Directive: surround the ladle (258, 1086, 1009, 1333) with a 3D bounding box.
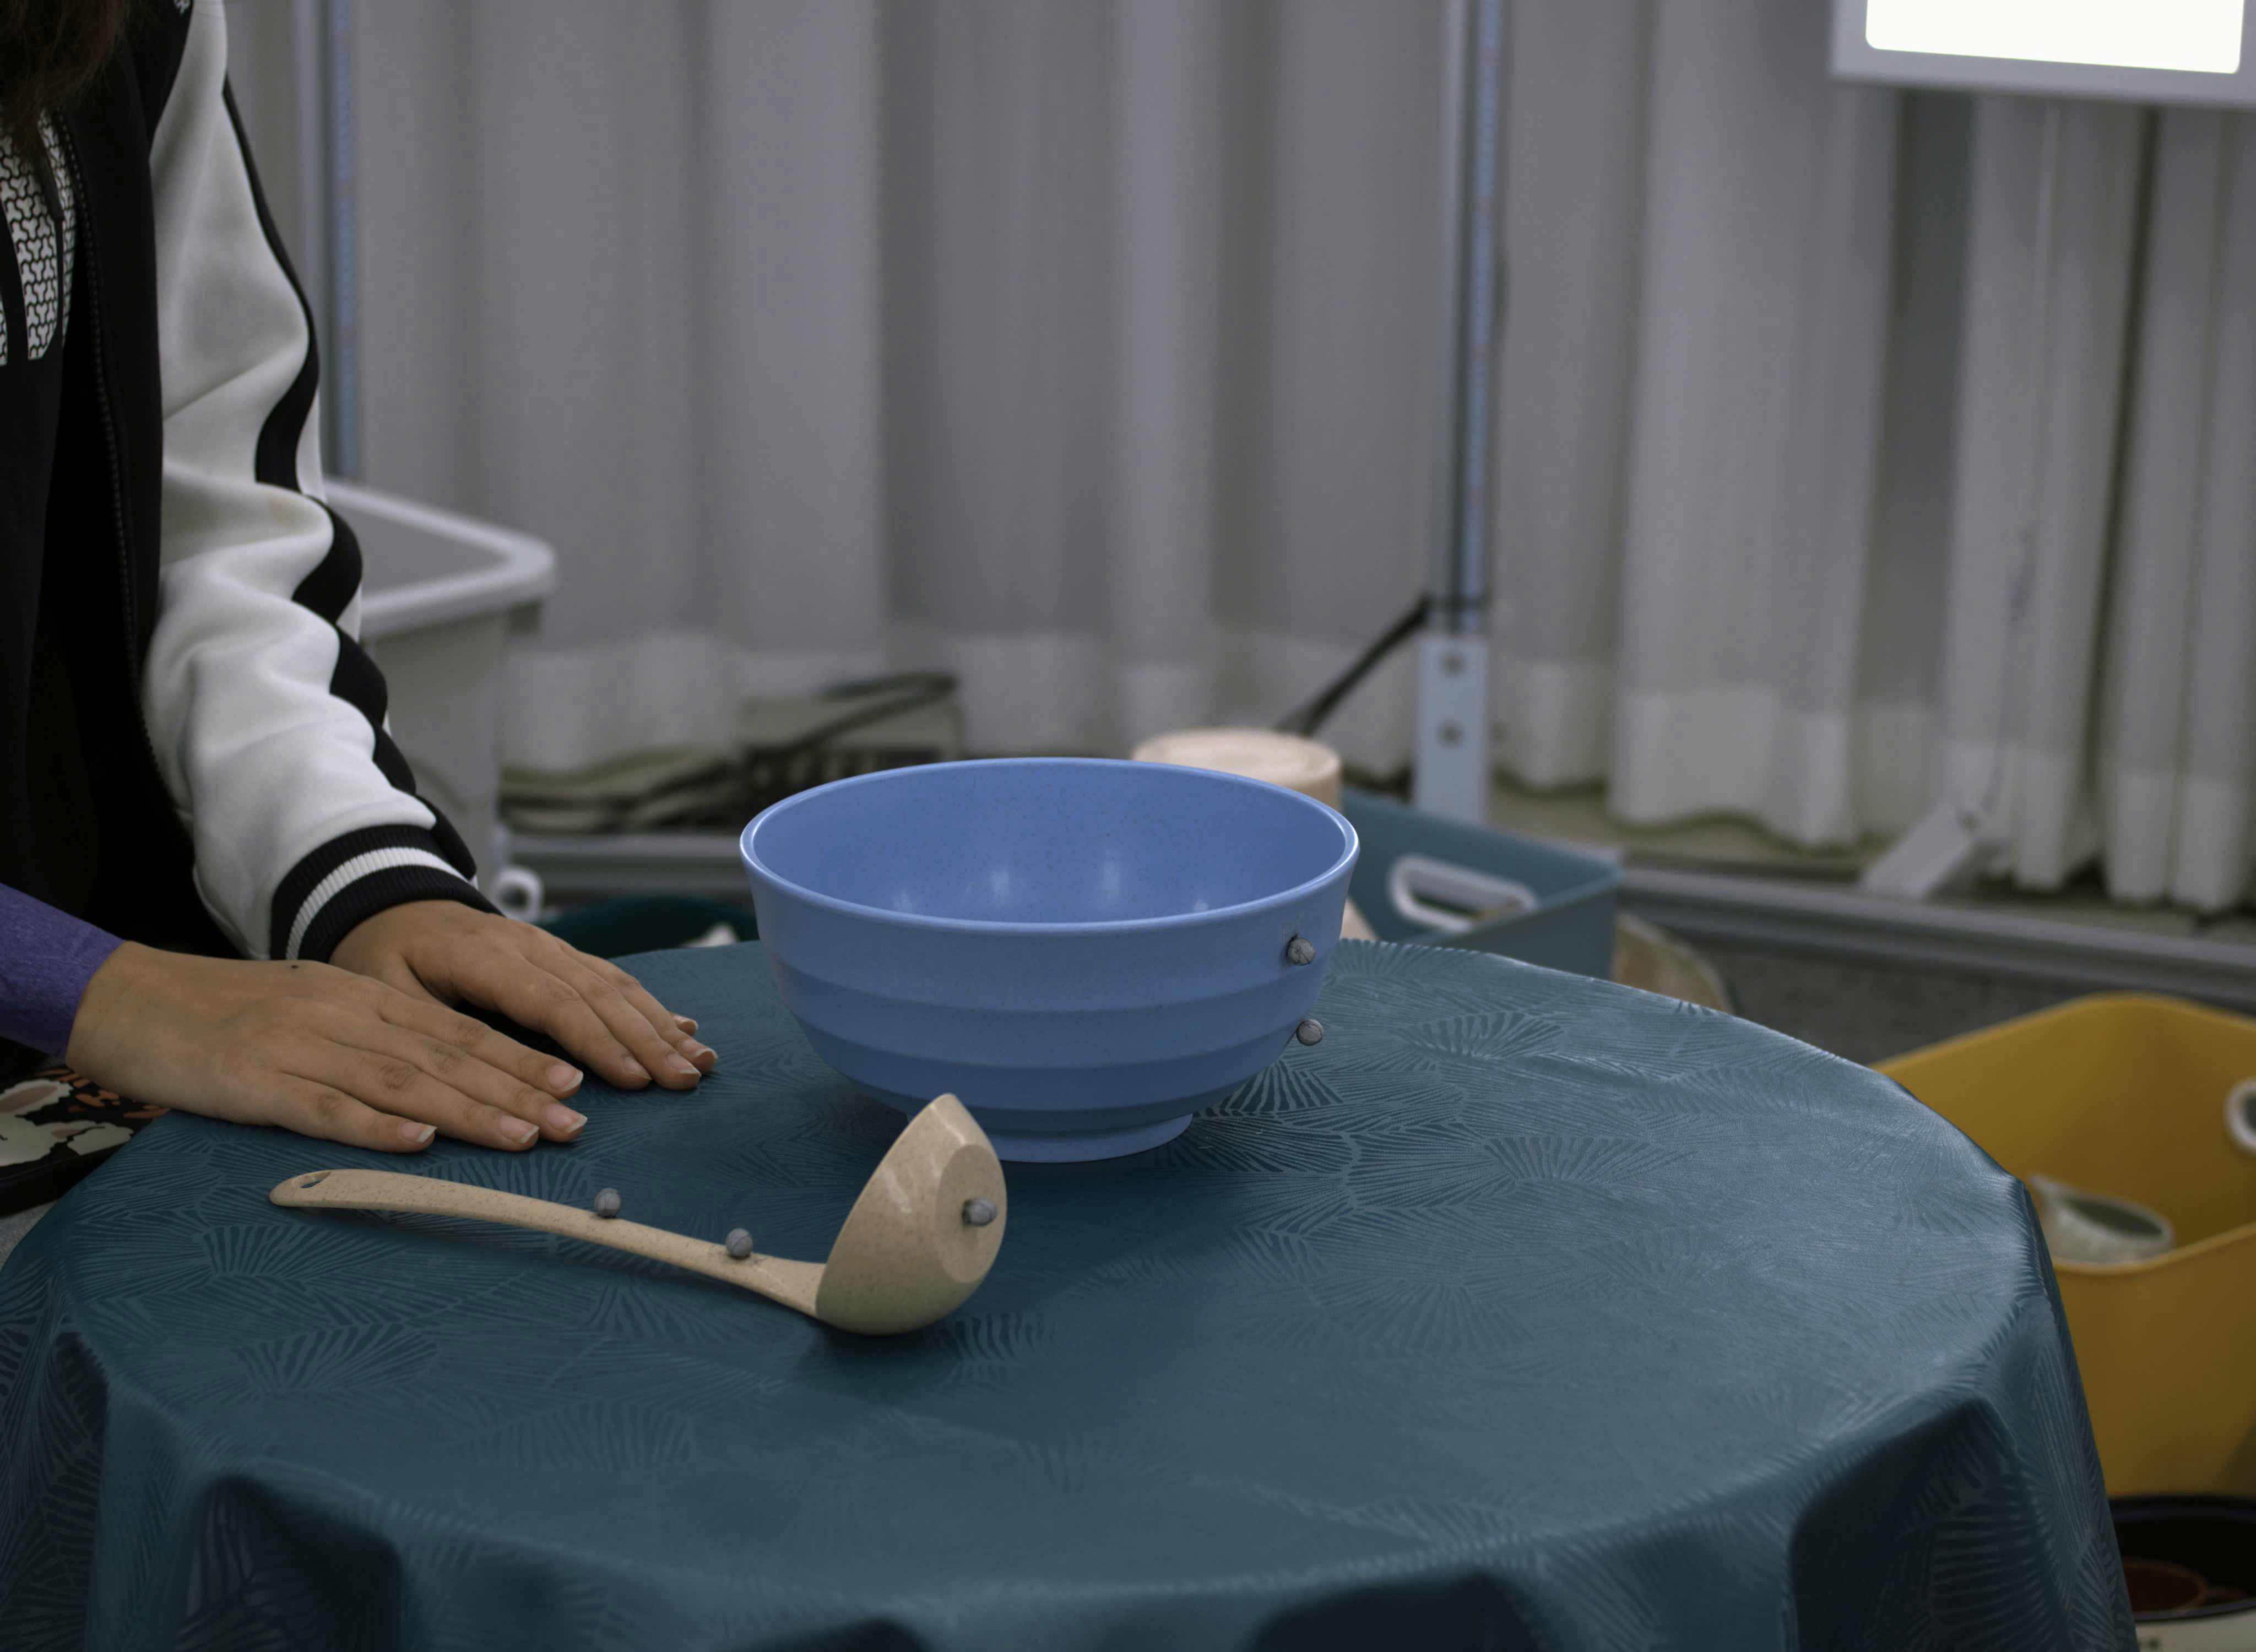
[{"bbox_3d":[-0.154,0.097,1.535,0.252,0.073,0.072,7,29,25],"label":"ladle"}]

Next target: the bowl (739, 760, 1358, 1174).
[{"bbox_3d":[-0.024,0.051,1.676,0.196,0.096,0.195,-1,17,1],"label":"bowl"}]
